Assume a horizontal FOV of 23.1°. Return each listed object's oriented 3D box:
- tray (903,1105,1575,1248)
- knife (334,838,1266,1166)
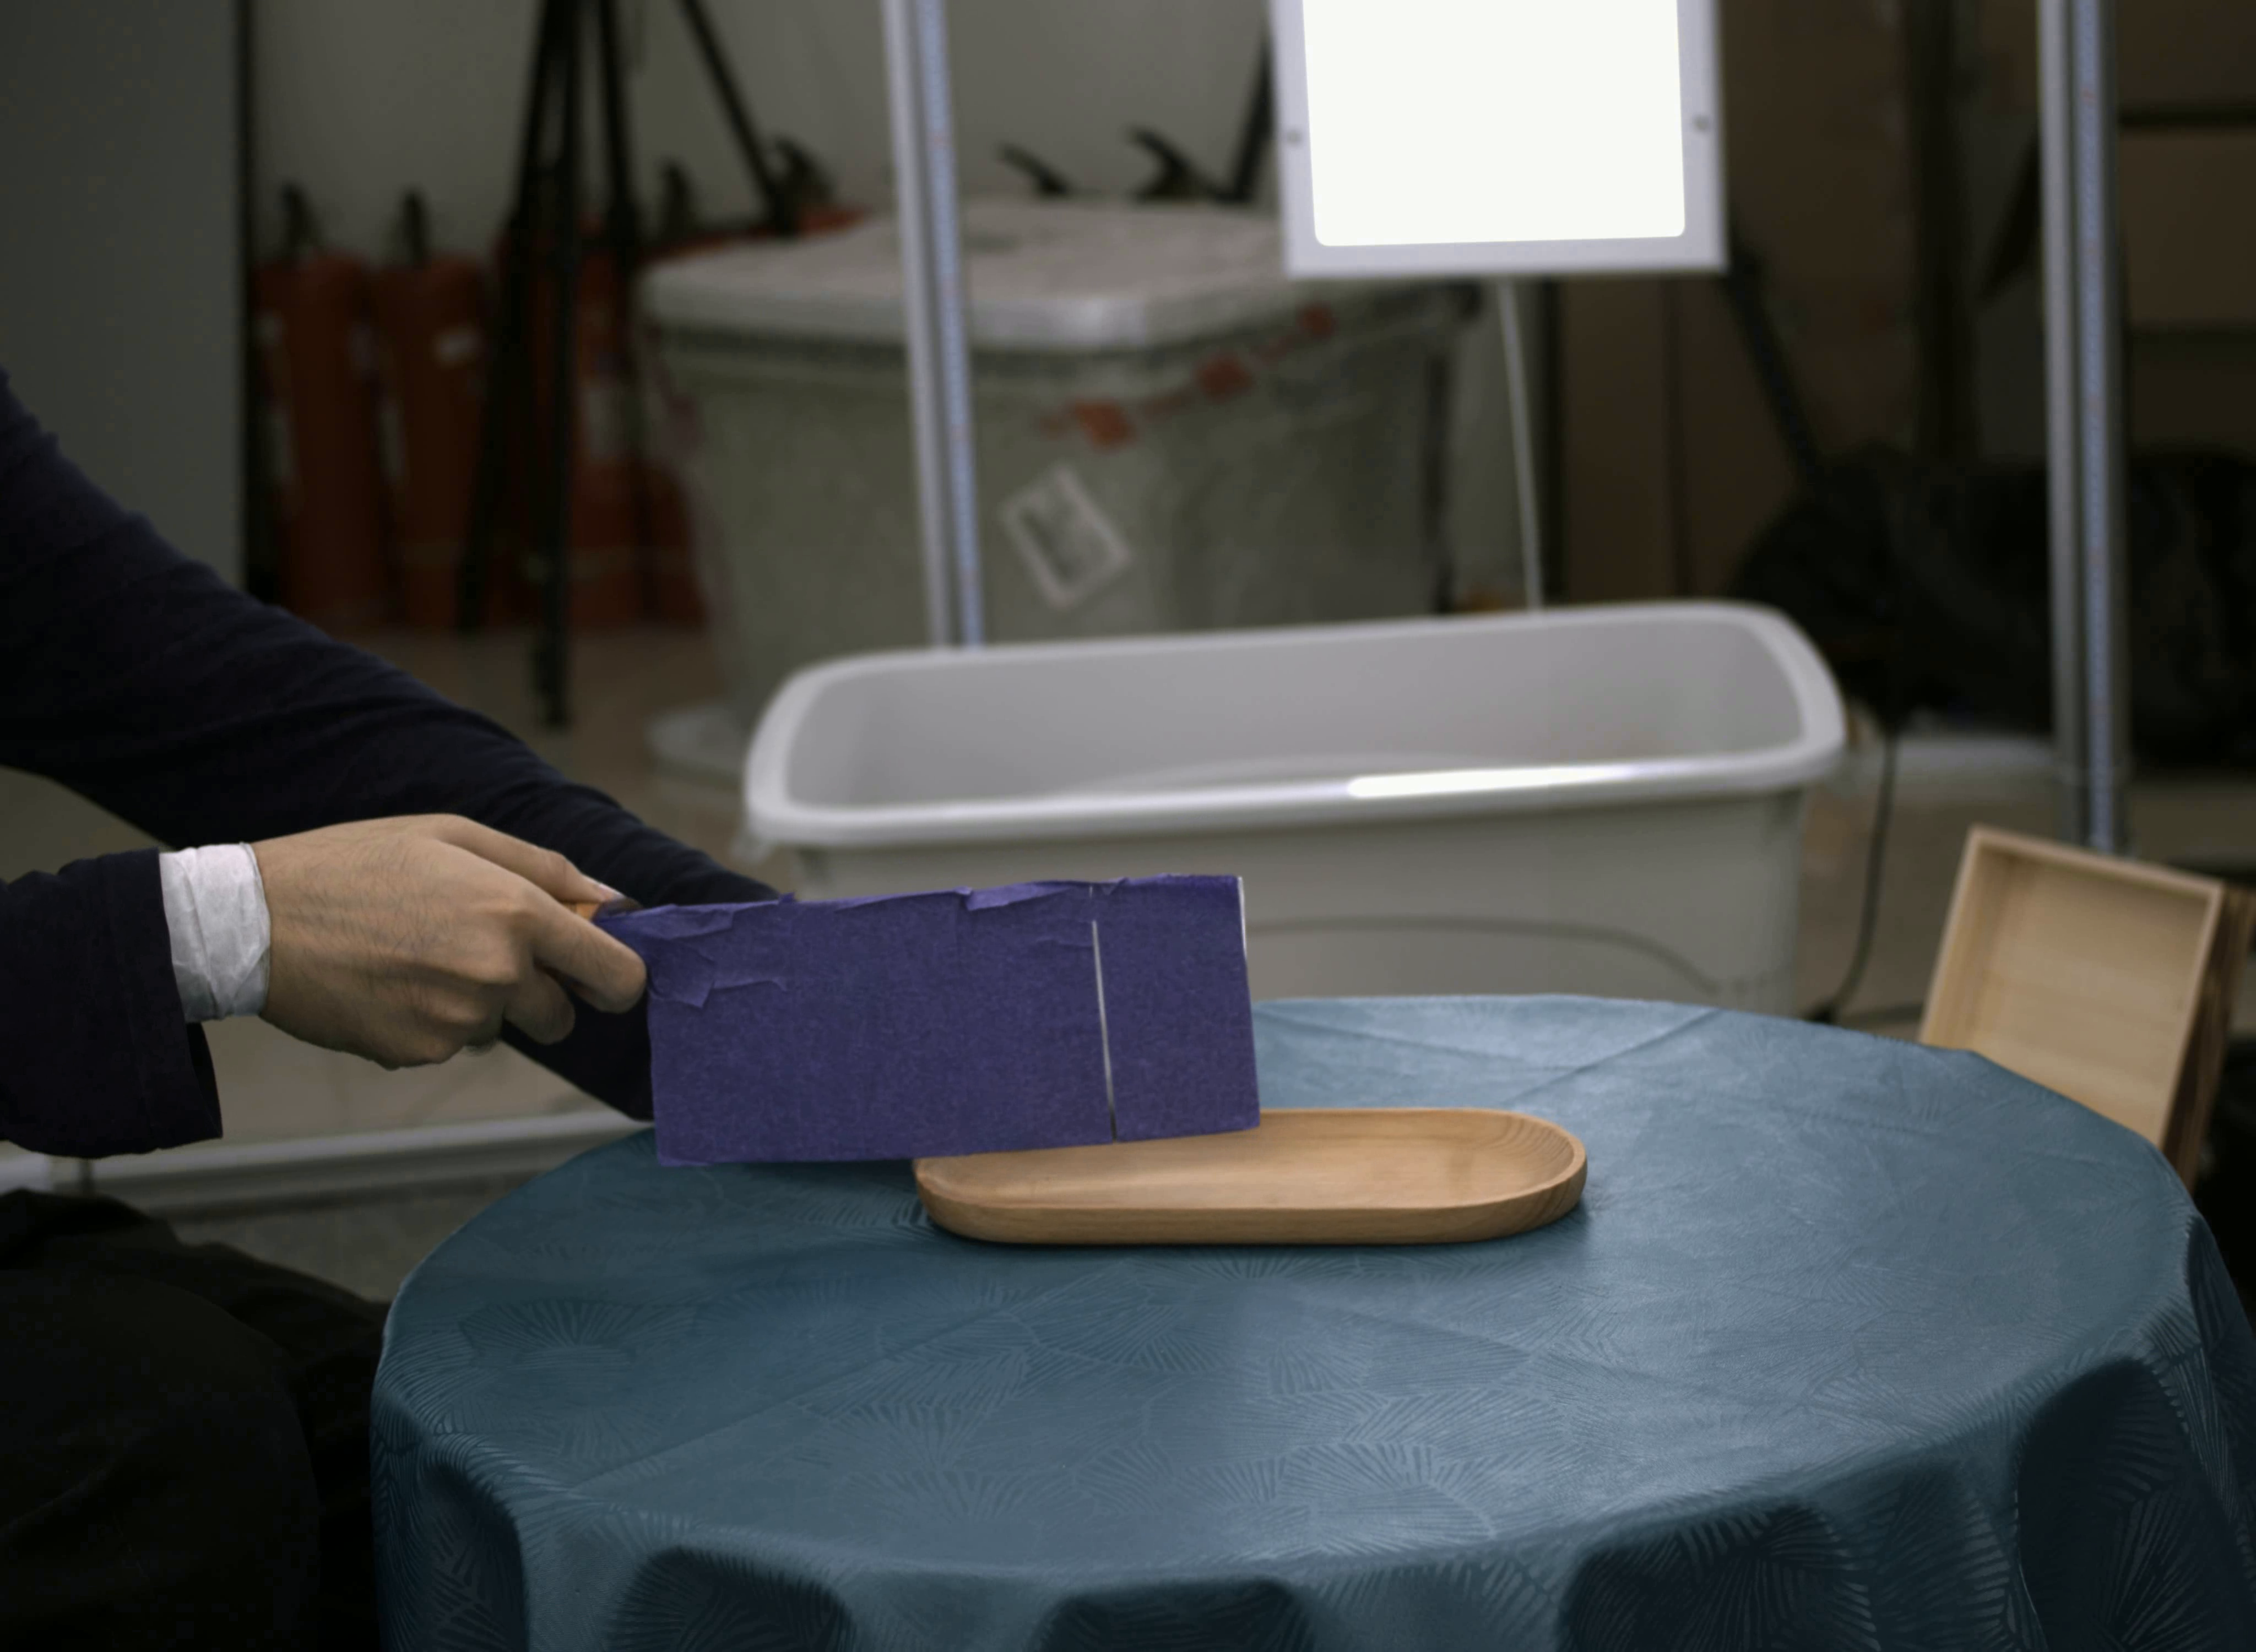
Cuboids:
[{"bbox_3d":[0.038,0.120,1.875,0.233,0.020,0.100,-3,15,12],"label":"tray"},{"bbox_3d":[-0.110,0.067,1.875,0.315,0.104,0.032,-4,3,2],"label":"knife"}]
